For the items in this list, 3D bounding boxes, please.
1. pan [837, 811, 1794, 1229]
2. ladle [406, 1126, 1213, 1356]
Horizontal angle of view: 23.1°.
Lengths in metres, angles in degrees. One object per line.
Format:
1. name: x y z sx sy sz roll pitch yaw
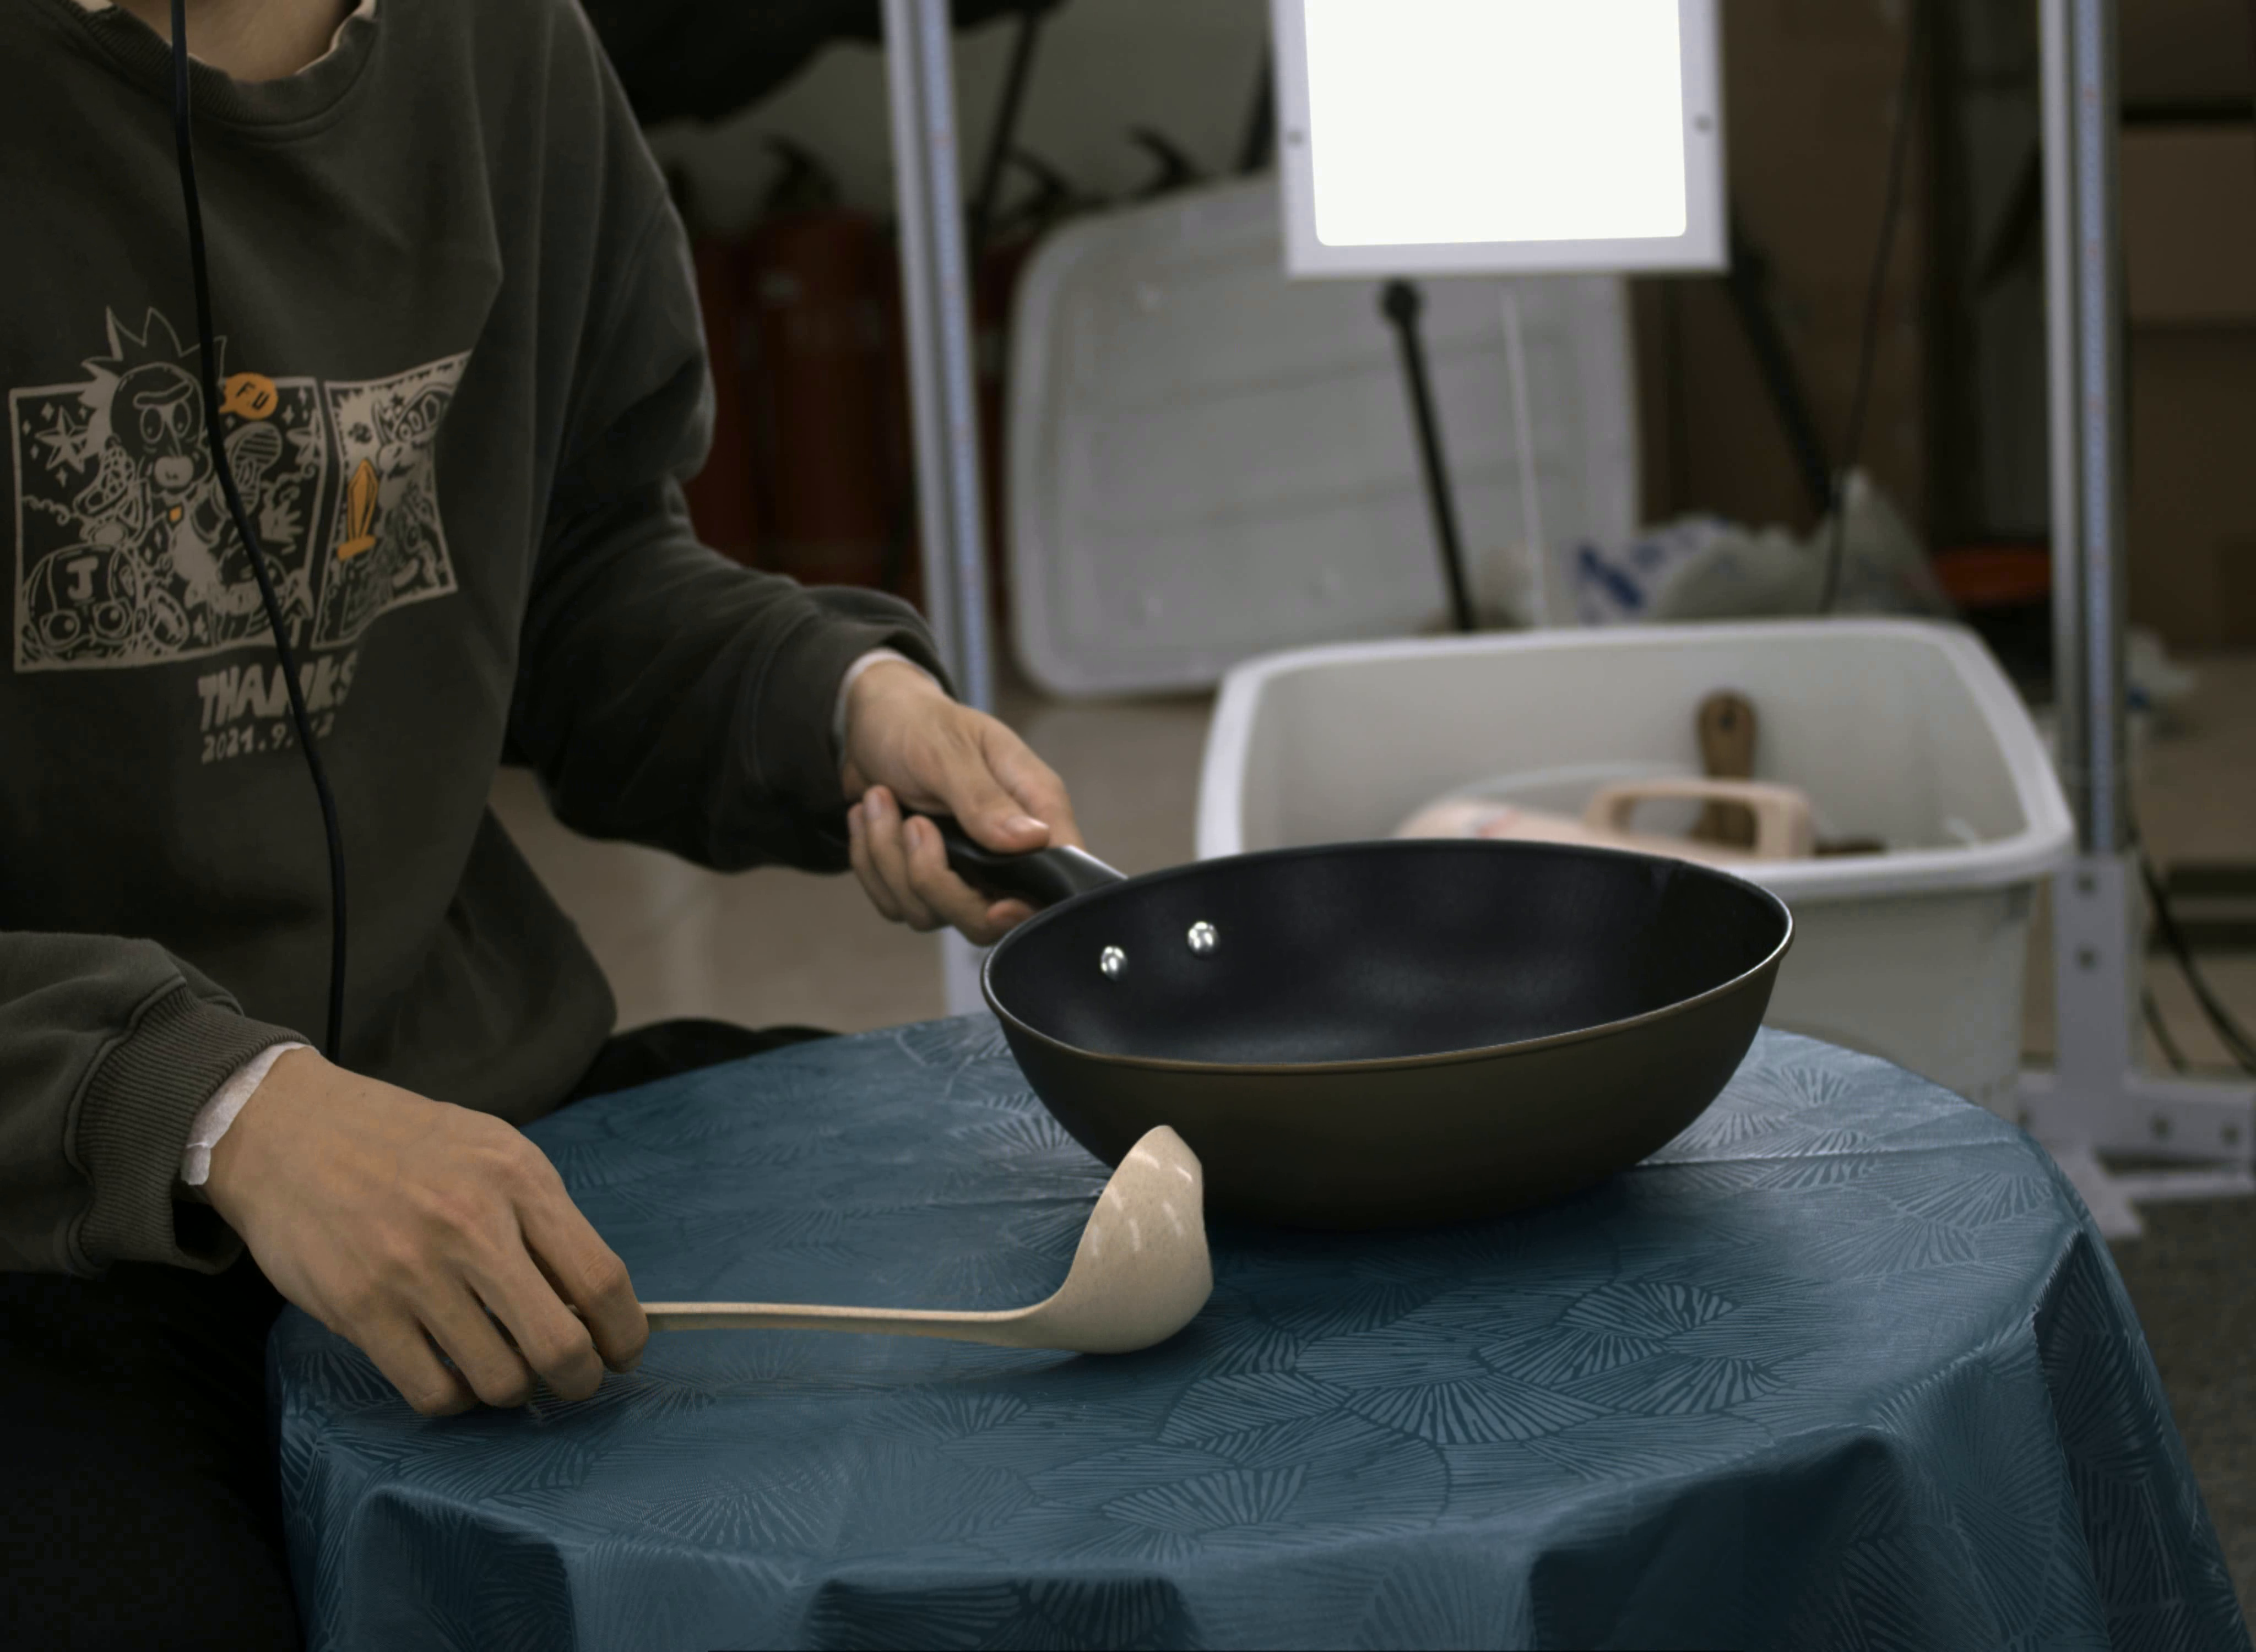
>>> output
1. pan: 0.034 0.064 1.961 0.281 0.087 0.473 -15 17 -35
2. ladle: -0.099 0.129 1.739 0.255 0.073 0.072 1 -21 5
